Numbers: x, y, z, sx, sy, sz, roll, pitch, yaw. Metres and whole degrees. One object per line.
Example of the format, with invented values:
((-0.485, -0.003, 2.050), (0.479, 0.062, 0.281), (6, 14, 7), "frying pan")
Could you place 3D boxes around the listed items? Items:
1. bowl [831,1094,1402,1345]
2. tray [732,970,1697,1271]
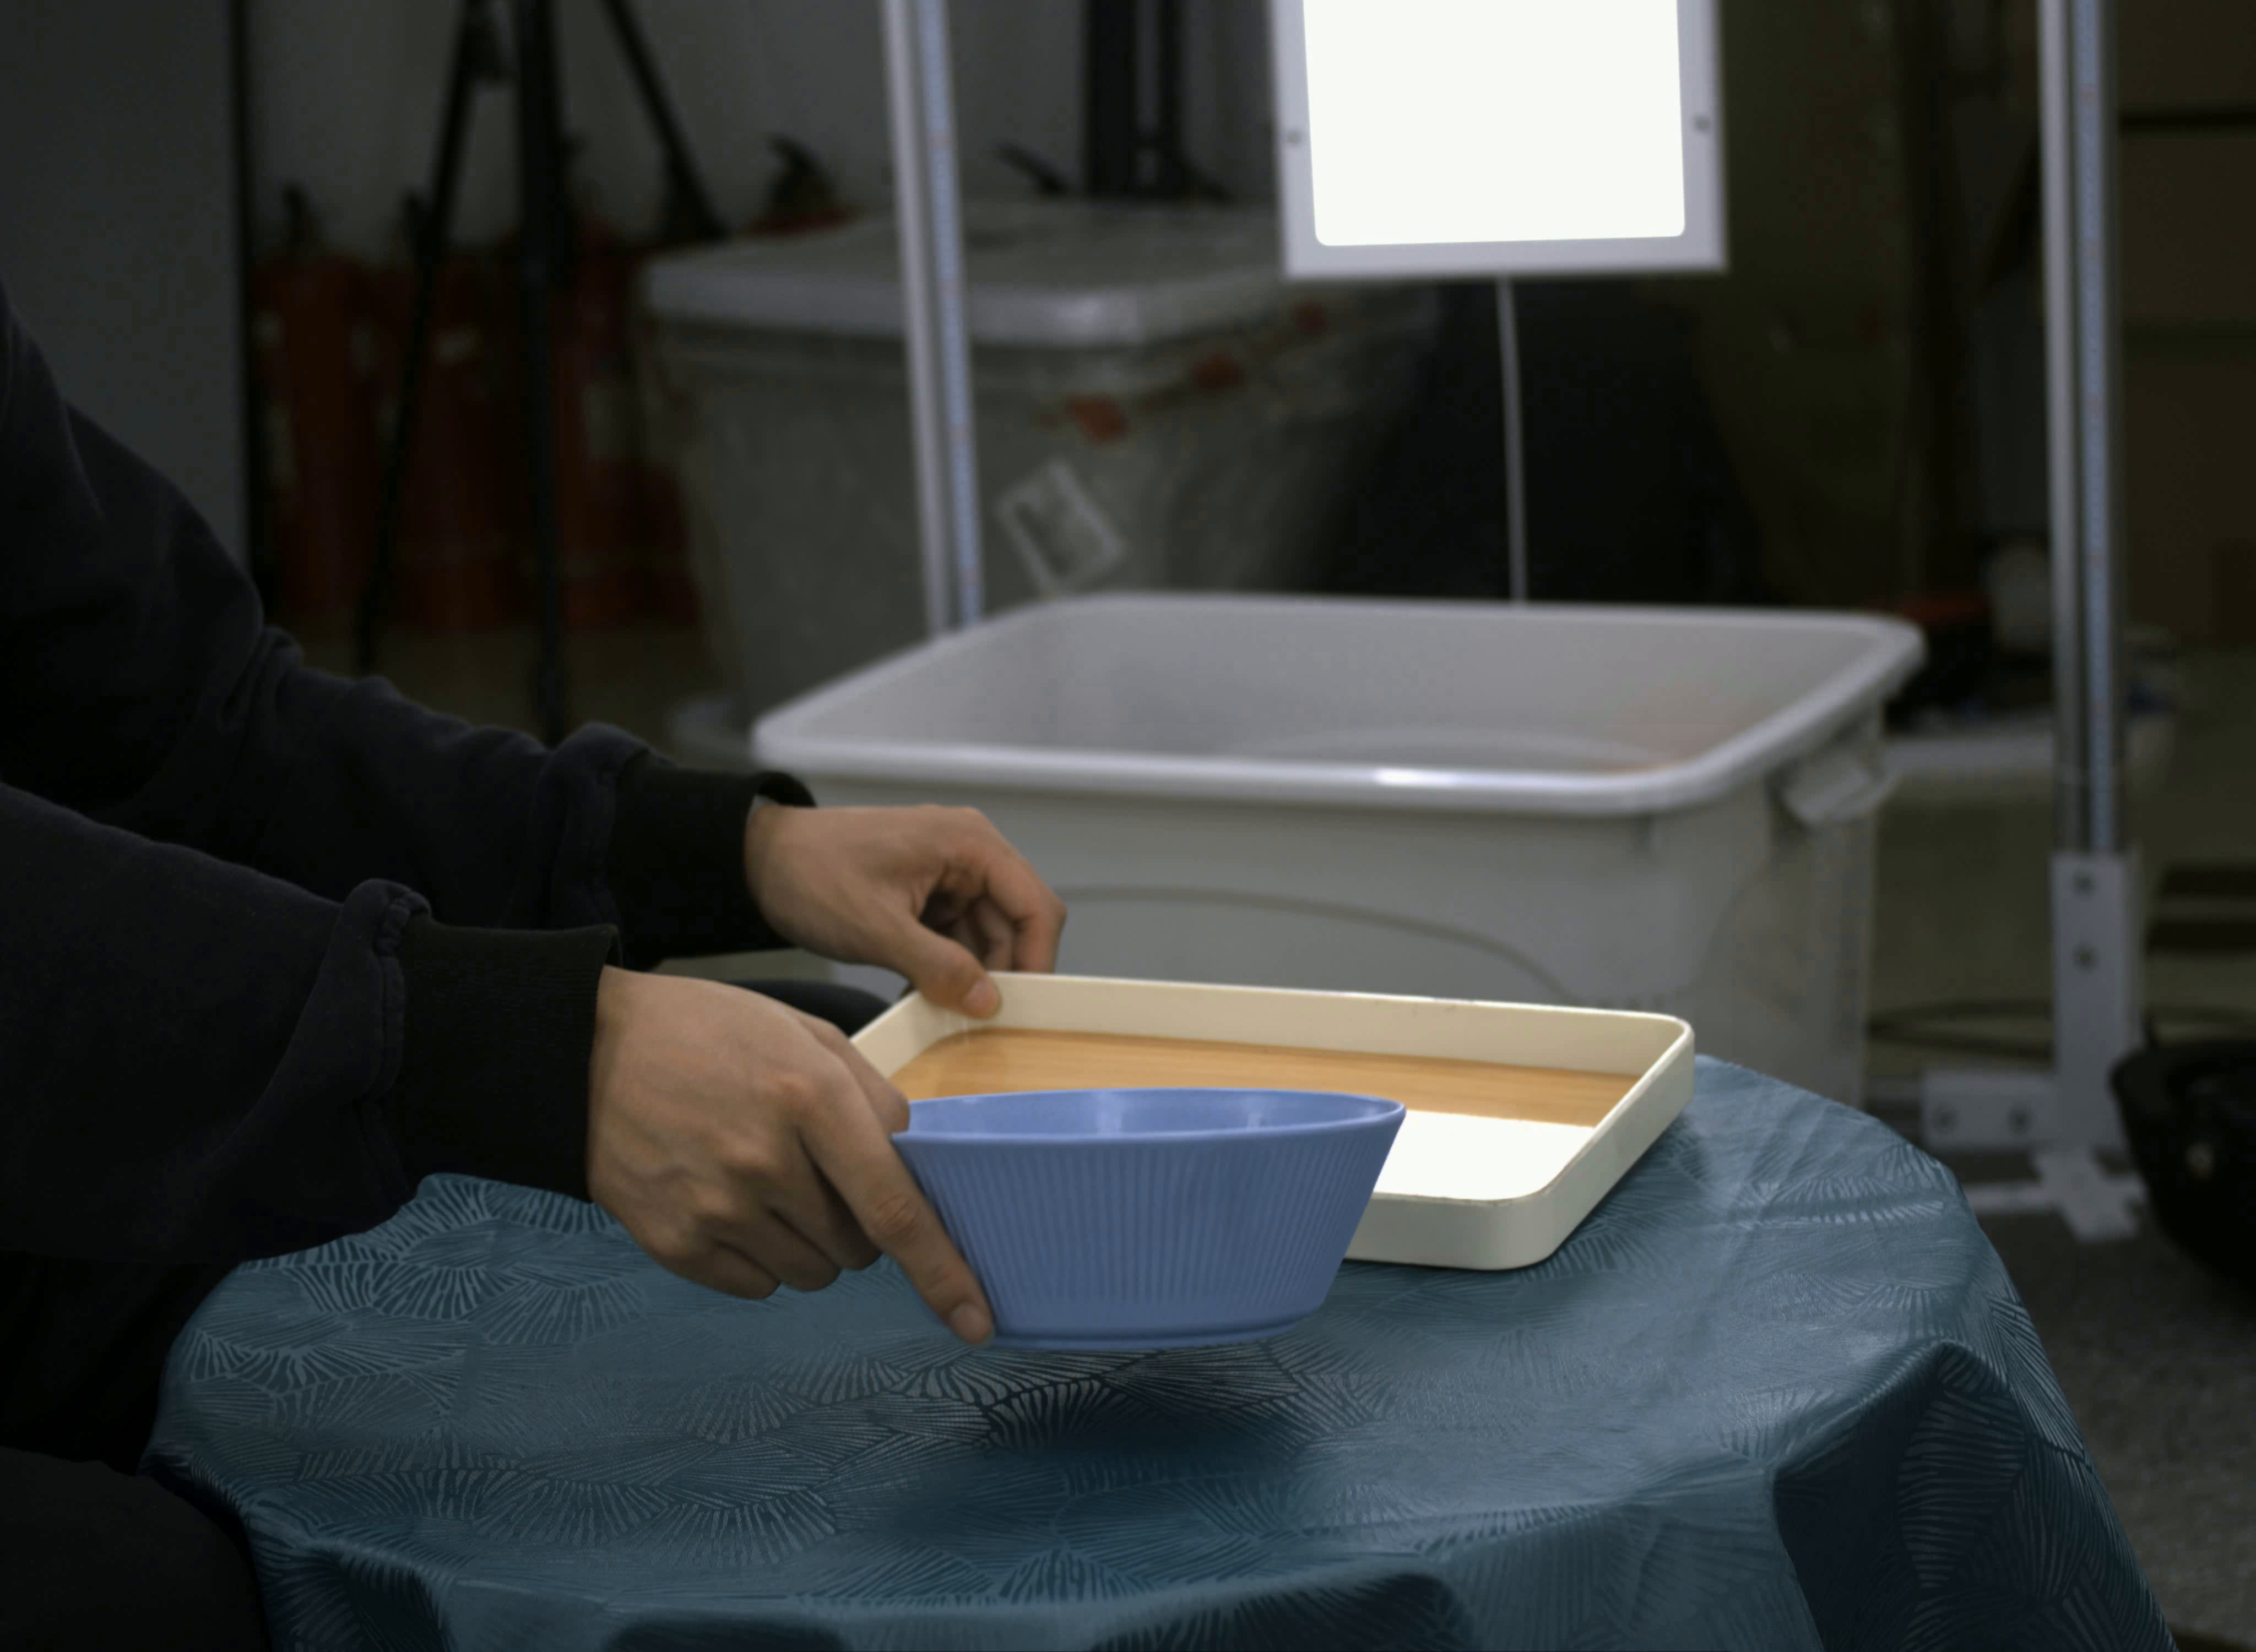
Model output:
((-0.003, 0.119, 1.682), (0.175, 0.070, 0.176), (0, 1, -1), "bowl")
((0.032, 0.100, 1.915), (0.305, 0.027, 0.188), (3, 19, 25), "tray")
